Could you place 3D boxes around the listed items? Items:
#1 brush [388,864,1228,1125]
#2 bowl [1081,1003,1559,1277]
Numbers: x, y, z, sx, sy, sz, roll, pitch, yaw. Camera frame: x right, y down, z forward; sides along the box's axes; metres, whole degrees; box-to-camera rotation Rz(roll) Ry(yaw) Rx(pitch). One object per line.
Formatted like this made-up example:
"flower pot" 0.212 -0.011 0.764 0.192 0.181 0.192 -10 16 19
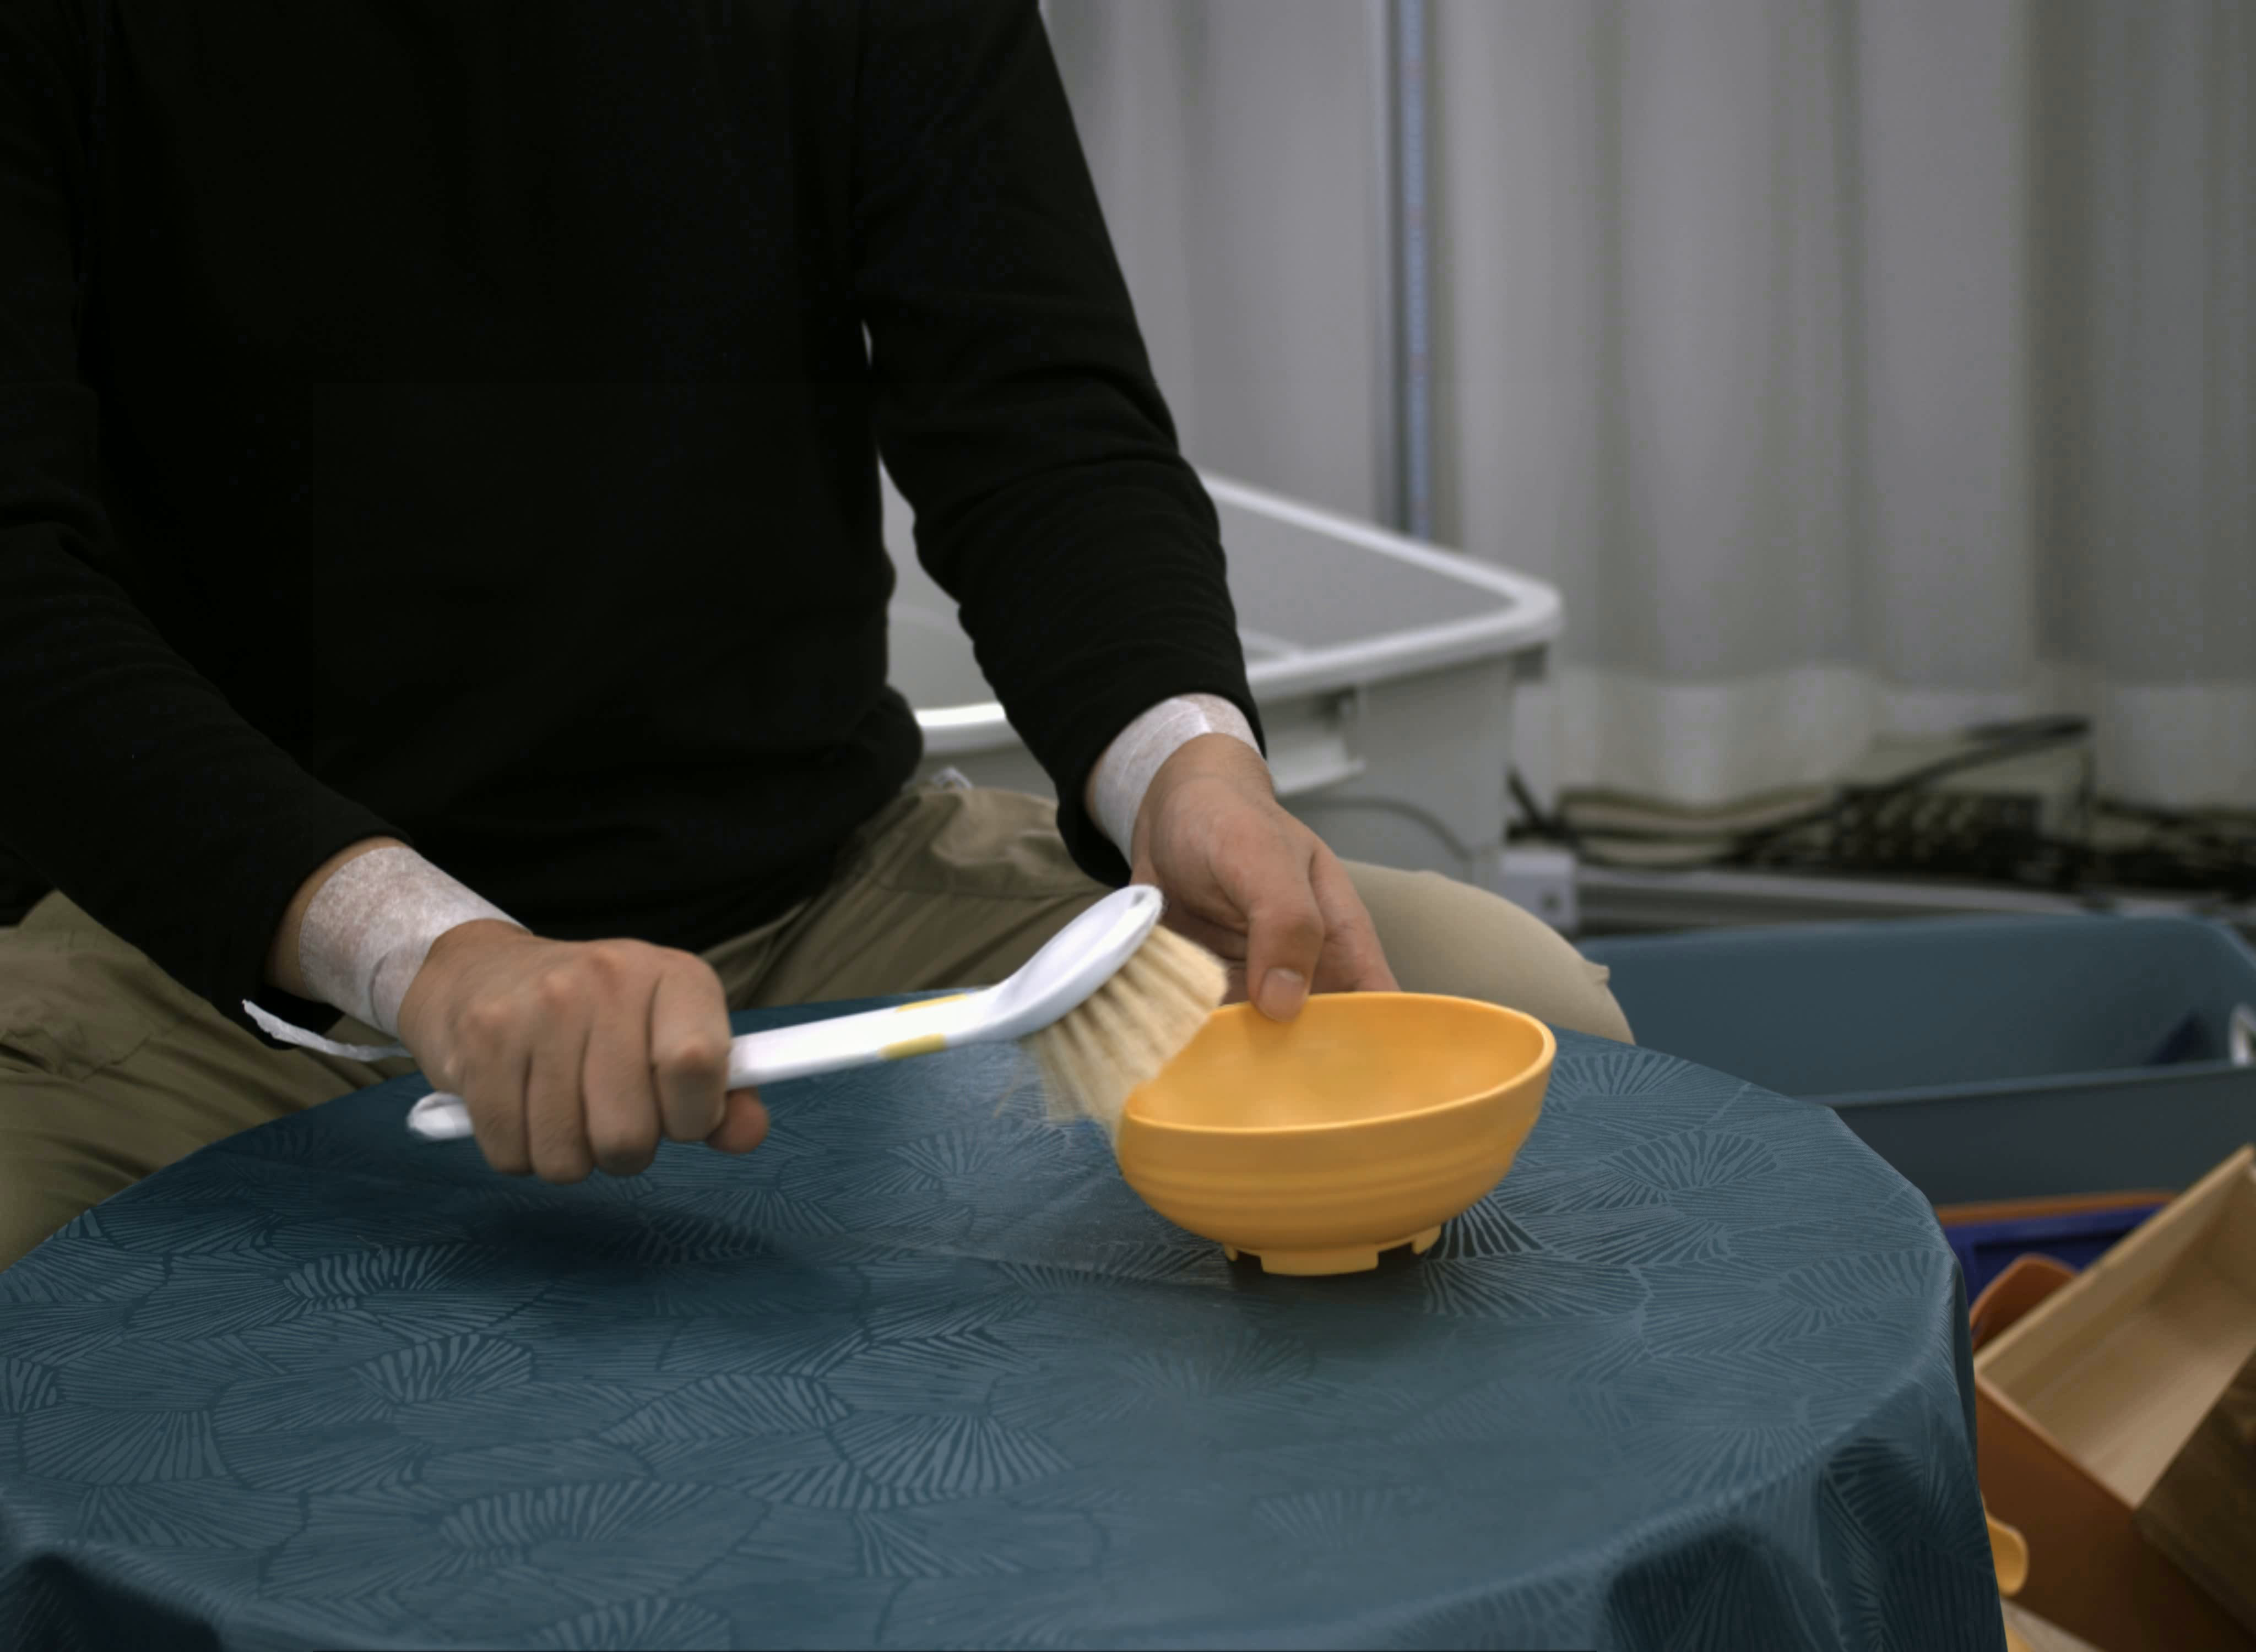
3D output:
"brush" -0.095 0.073 1.660 0.266 0.056 0.069 -16 12 14
"bowl" 0.058 0.098 1.647 0.145 0.060 0.146 -3 12 0
